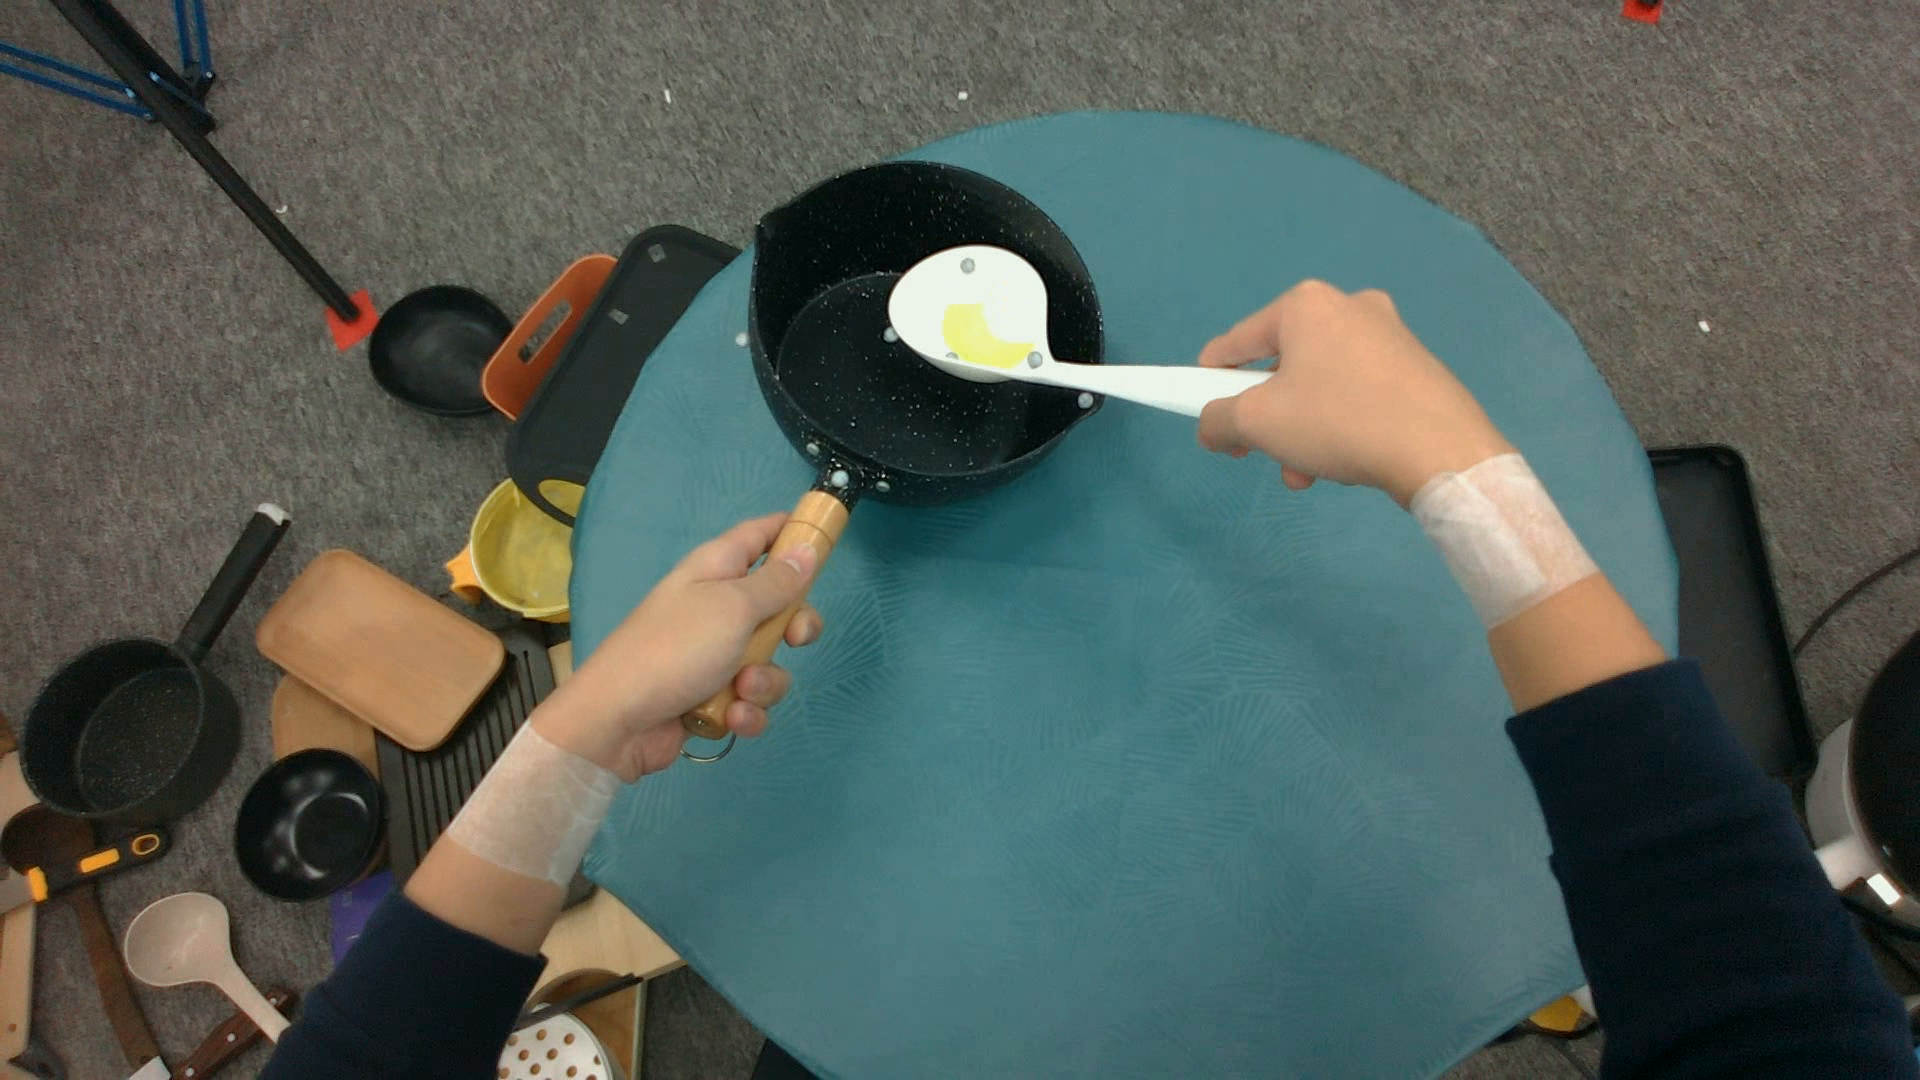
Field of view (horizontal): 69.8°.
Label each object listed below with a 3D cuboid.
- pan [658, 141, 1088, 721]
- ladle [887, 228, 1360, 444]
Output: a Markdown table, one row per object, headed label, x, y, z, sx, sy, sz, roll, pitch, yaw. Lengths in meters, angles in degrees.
| label | x | y | z | sx | sy | sz | roll | pitch | yaw |
| --- | --- | --- | --- | --- | --- | --- | --- | --- | --- |
| pan | -0.060 | -0.049 | 0.696 | 0.207 | 0.108 | 0.344 | 26 | 64 | -4 |
| ladle | 0.069 | -0.107 | 0.666 | 0.090 | 0.070 | 0.293 | -23 | 27 | -28 |
